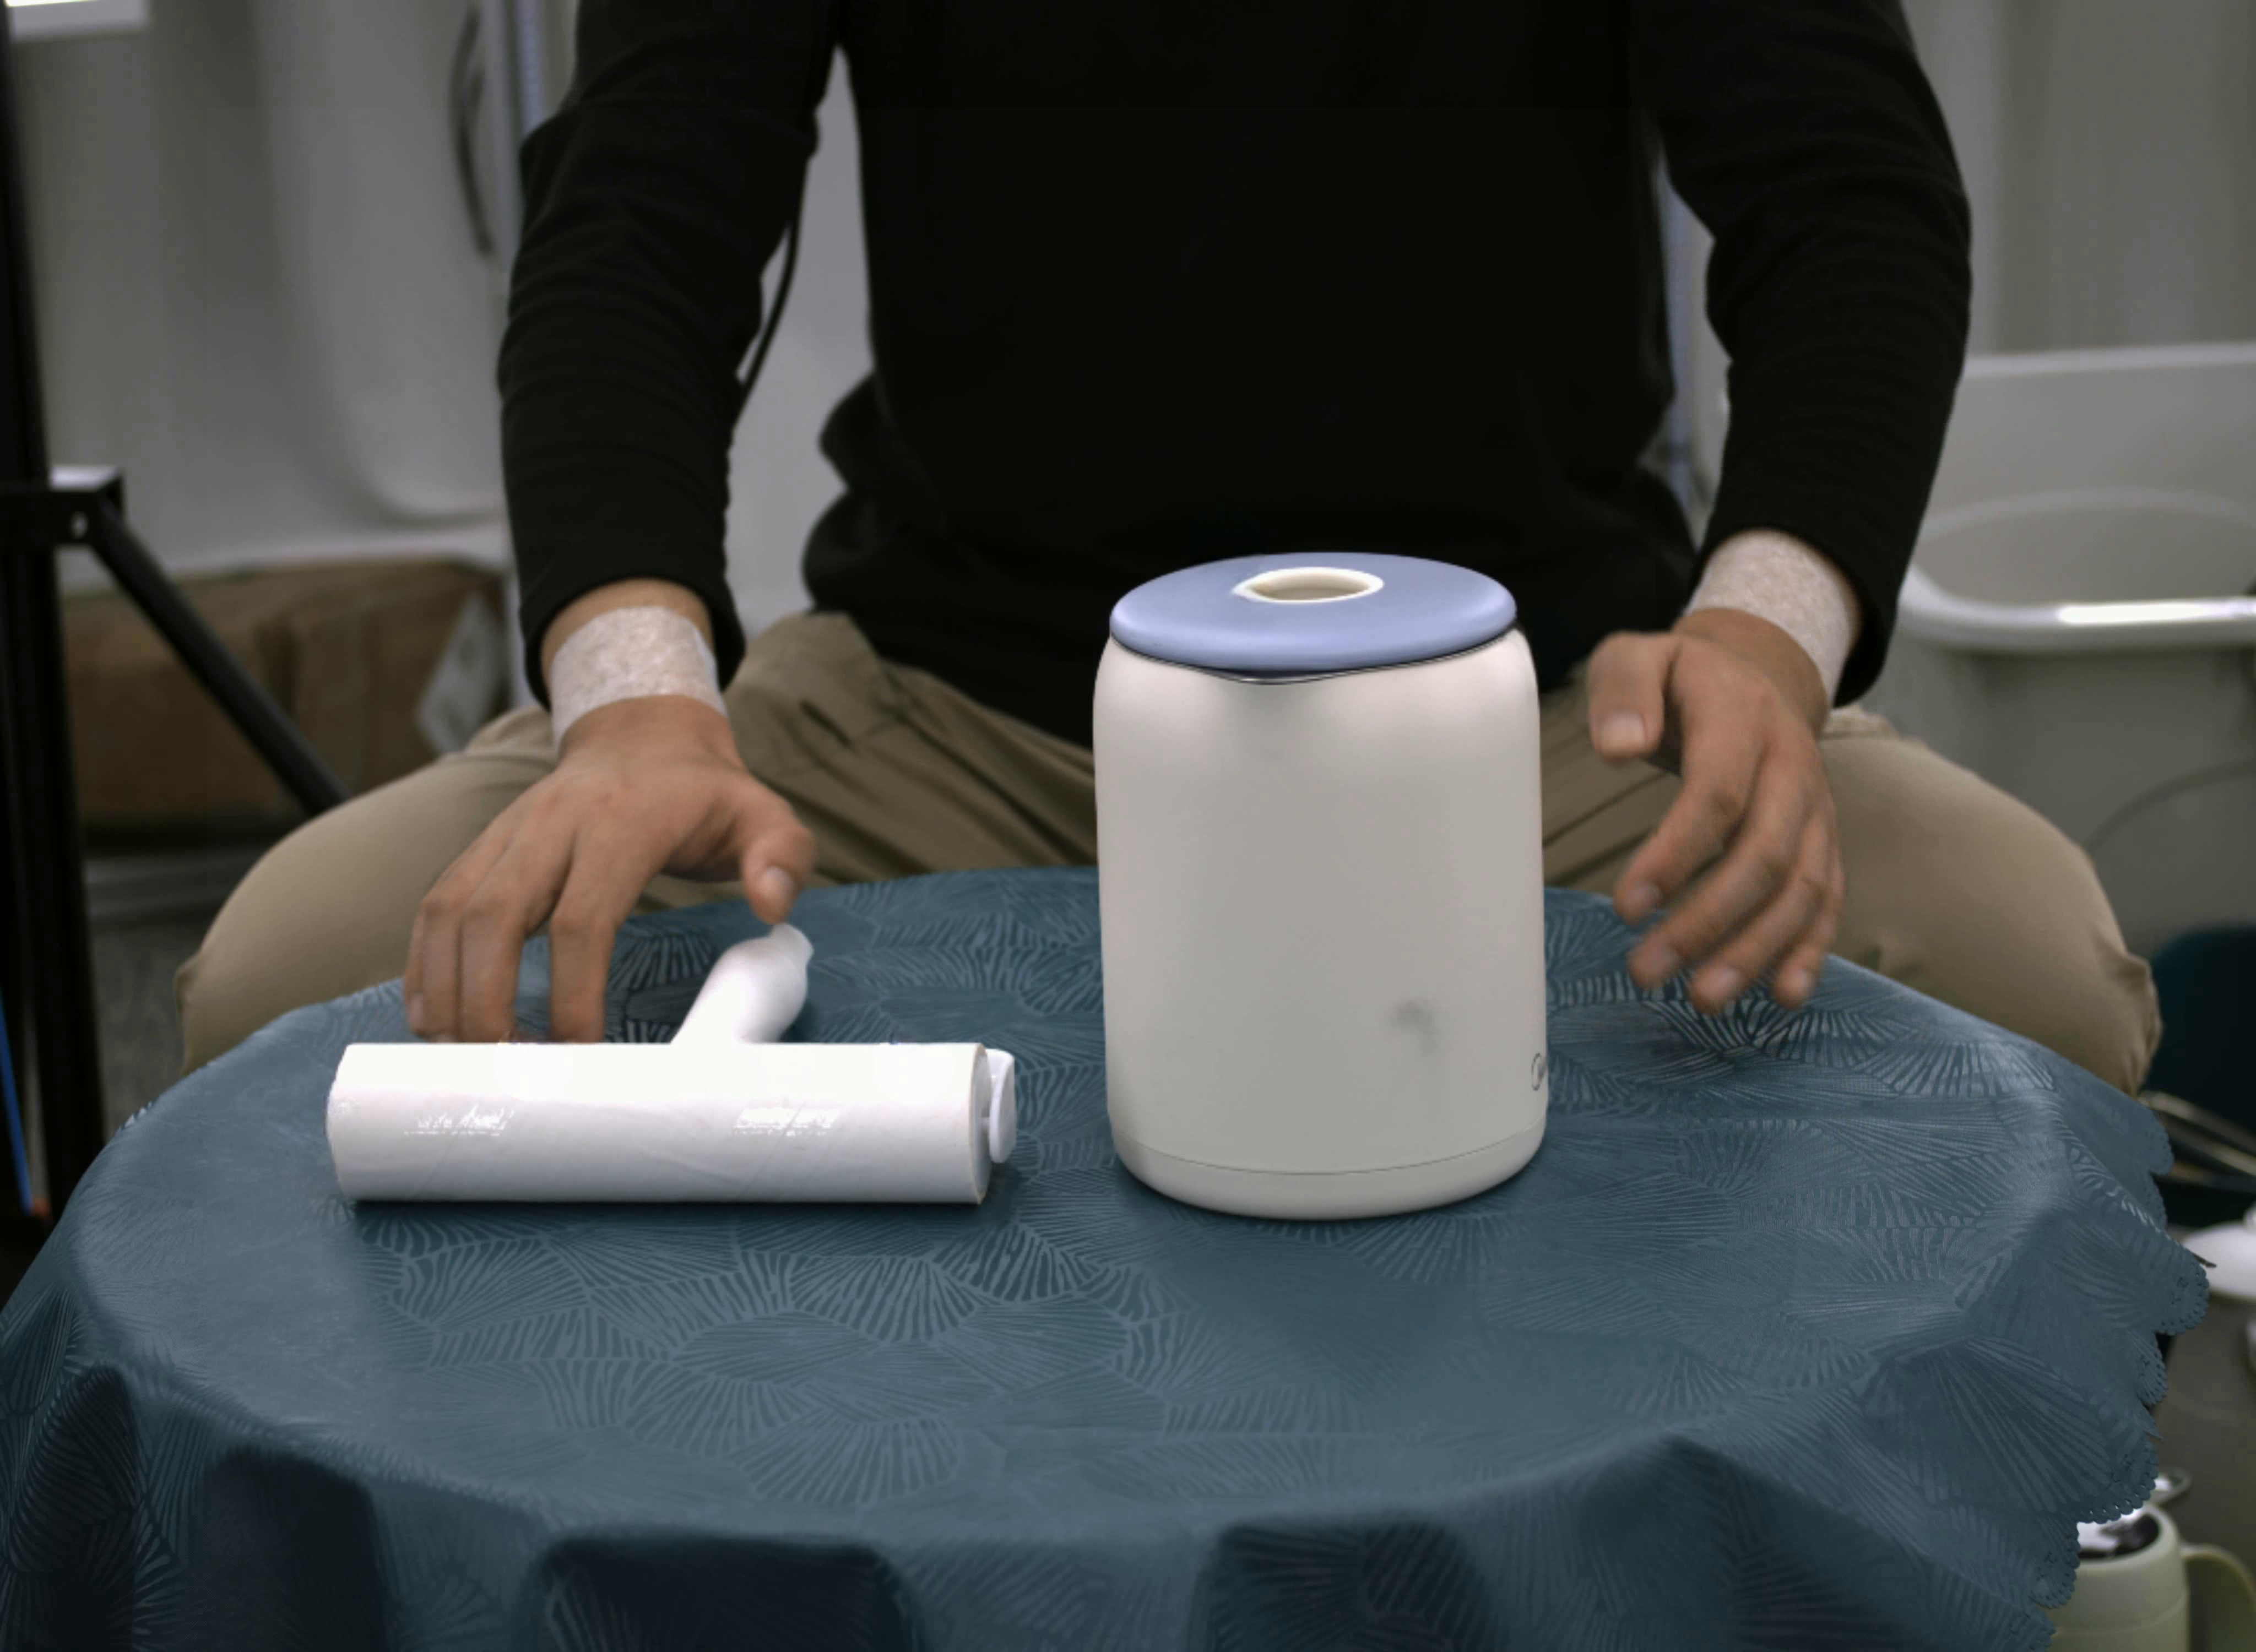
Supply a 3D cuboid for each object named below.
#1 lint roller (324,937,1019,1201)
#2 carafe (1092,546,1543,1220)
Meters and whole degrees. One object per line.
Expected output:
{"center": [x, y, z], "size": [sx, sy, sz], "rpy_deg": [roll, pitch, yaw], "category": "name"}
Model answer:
{"center": [-0.127, 0.064, 1.655], "size": [0.203, 0.048, 0.225], "rpy_deg": [-2, 15, 7], "category": "lint roller"}
{"center": [0.061, 0.010, 1.581], "size": [0.133, 0.182, 0.190], "rpy_deg": [2, 14, 12], "category": "carafe"}
